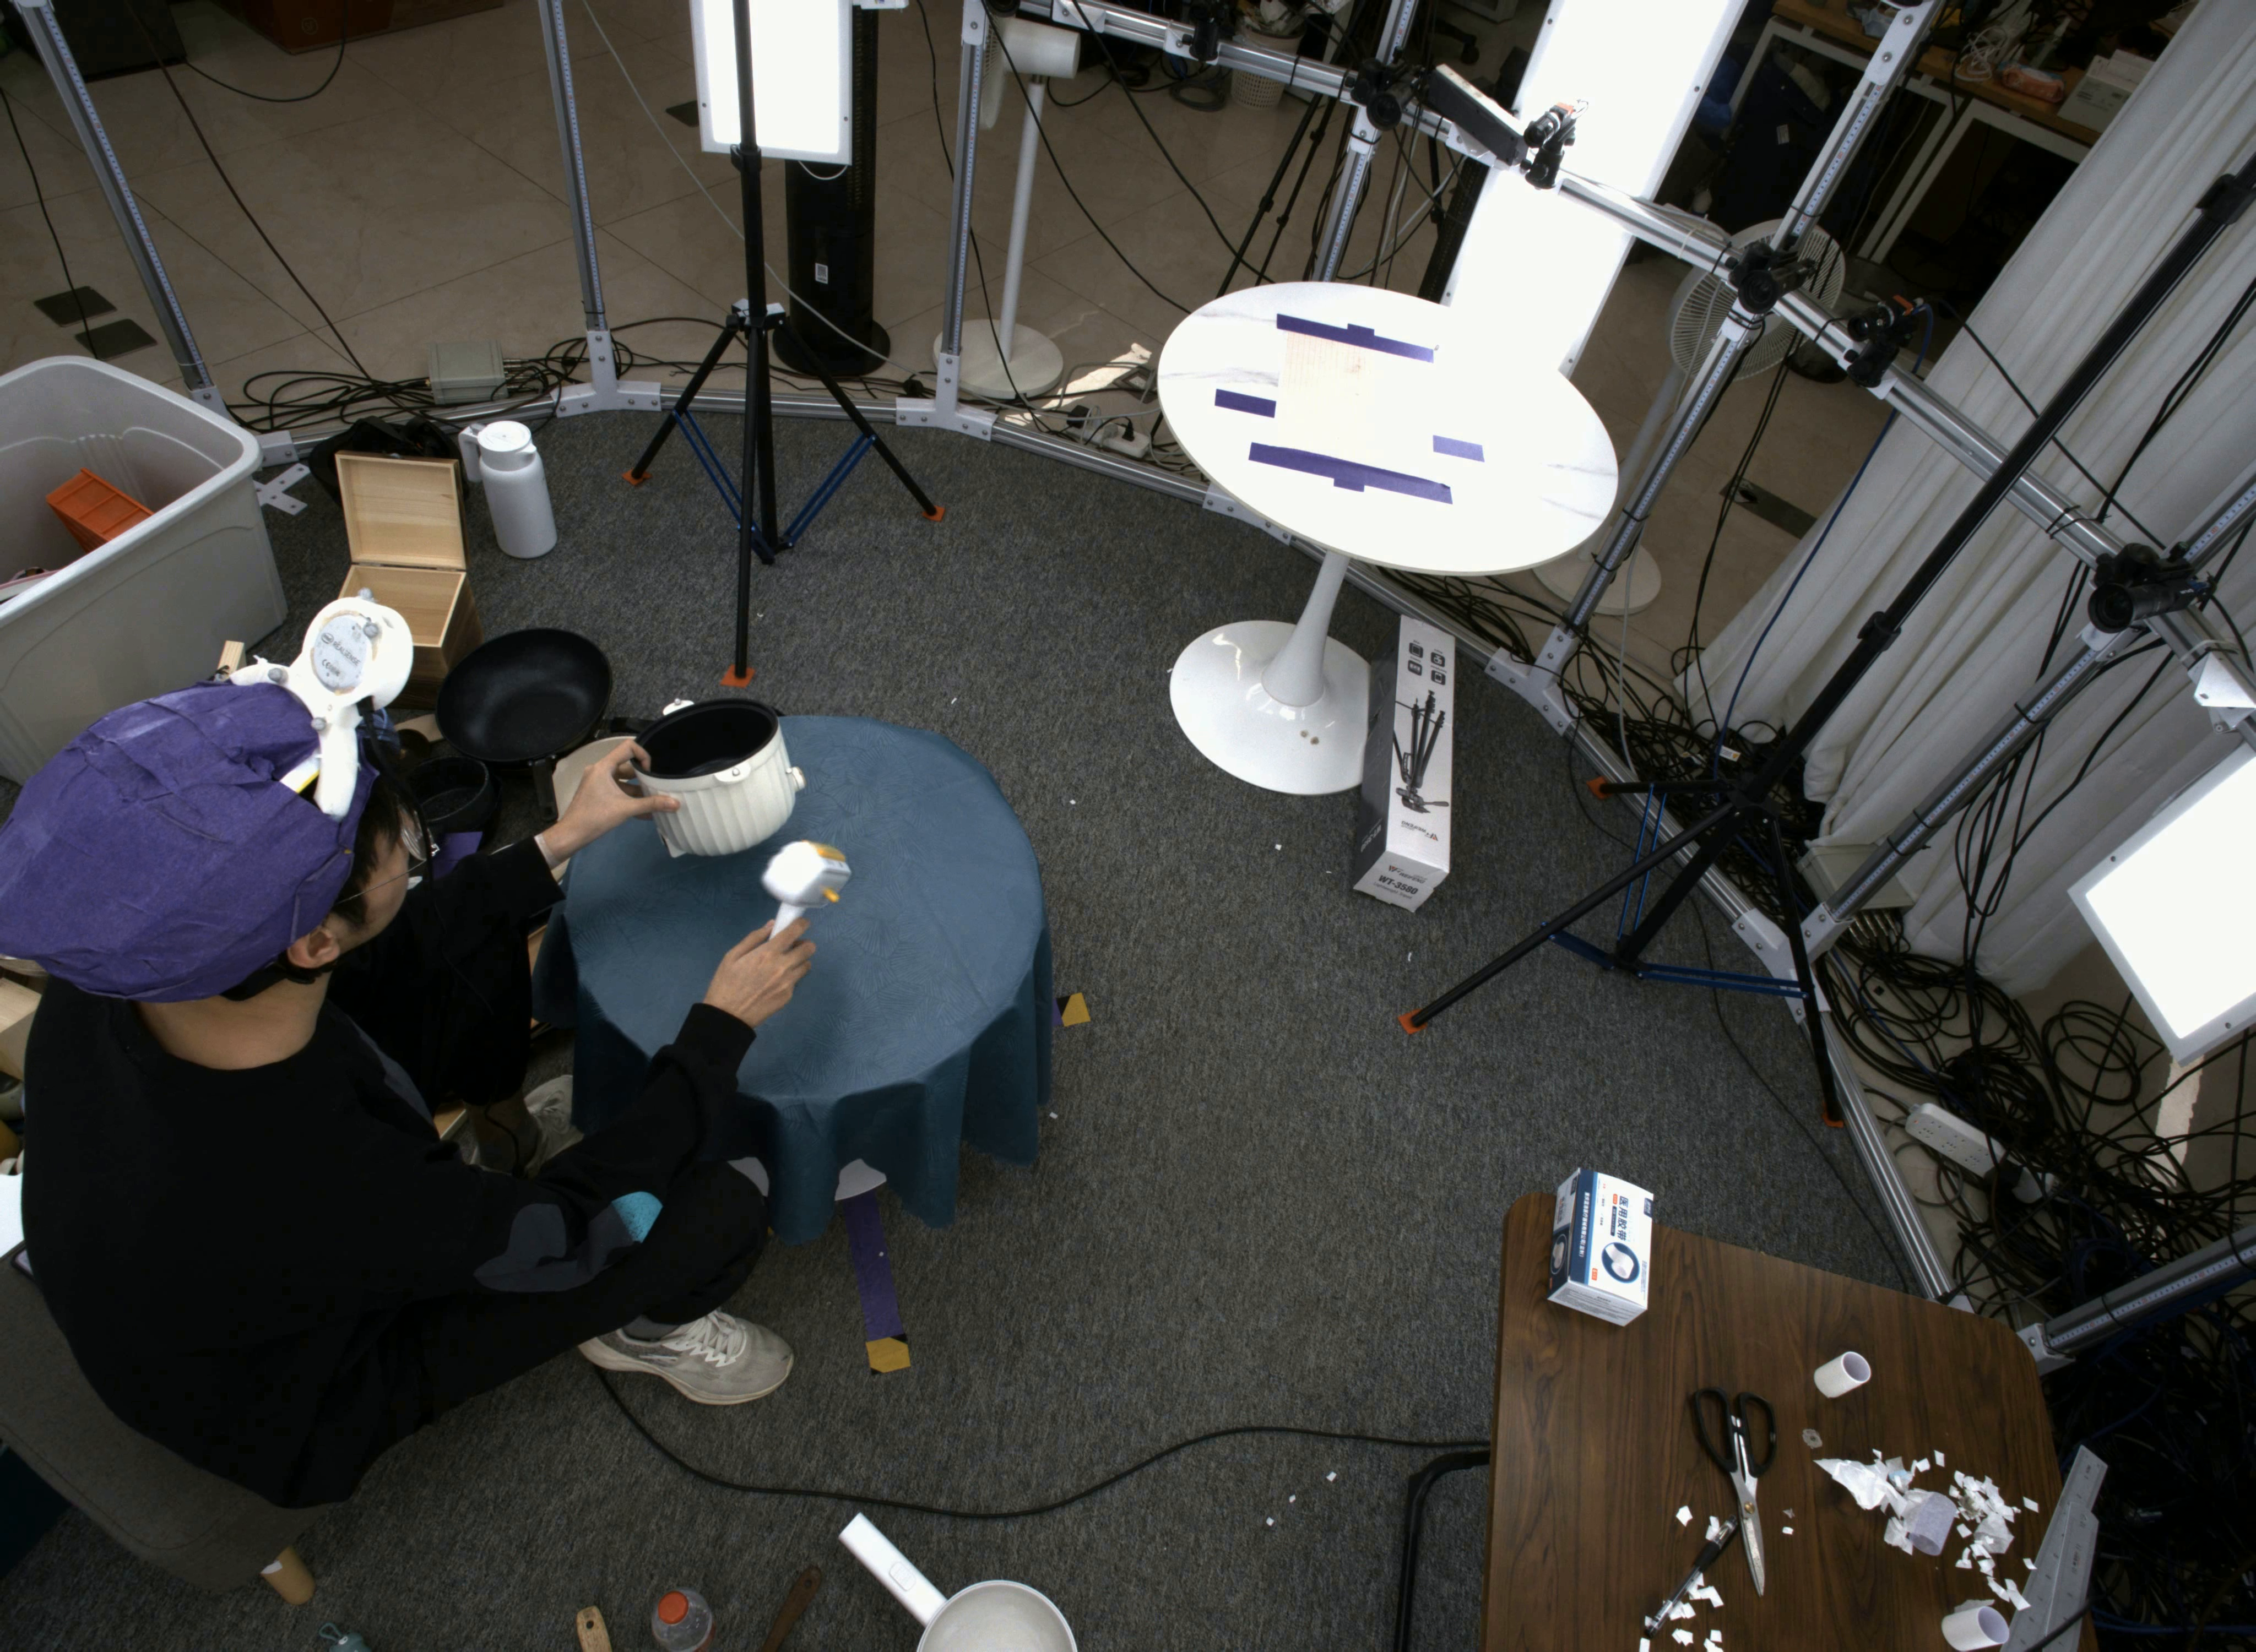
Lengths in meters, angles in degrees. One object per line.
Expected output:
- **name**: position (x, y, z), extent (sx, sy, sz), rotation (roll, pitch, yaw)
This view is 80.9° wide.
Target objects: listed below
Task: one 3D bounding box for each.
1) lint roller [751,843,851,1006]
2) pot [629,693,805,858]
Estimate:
- **lint roller**: position (-0.387, 0.107, 1.471), extent (0.074, 0.191, 0.193), rotation (32, 89, -5)
- **pot**: position (-0.503, -0.061, 1.595), extent (0.191, 0.148, 0.231), rotation (-29, 43, -24)
